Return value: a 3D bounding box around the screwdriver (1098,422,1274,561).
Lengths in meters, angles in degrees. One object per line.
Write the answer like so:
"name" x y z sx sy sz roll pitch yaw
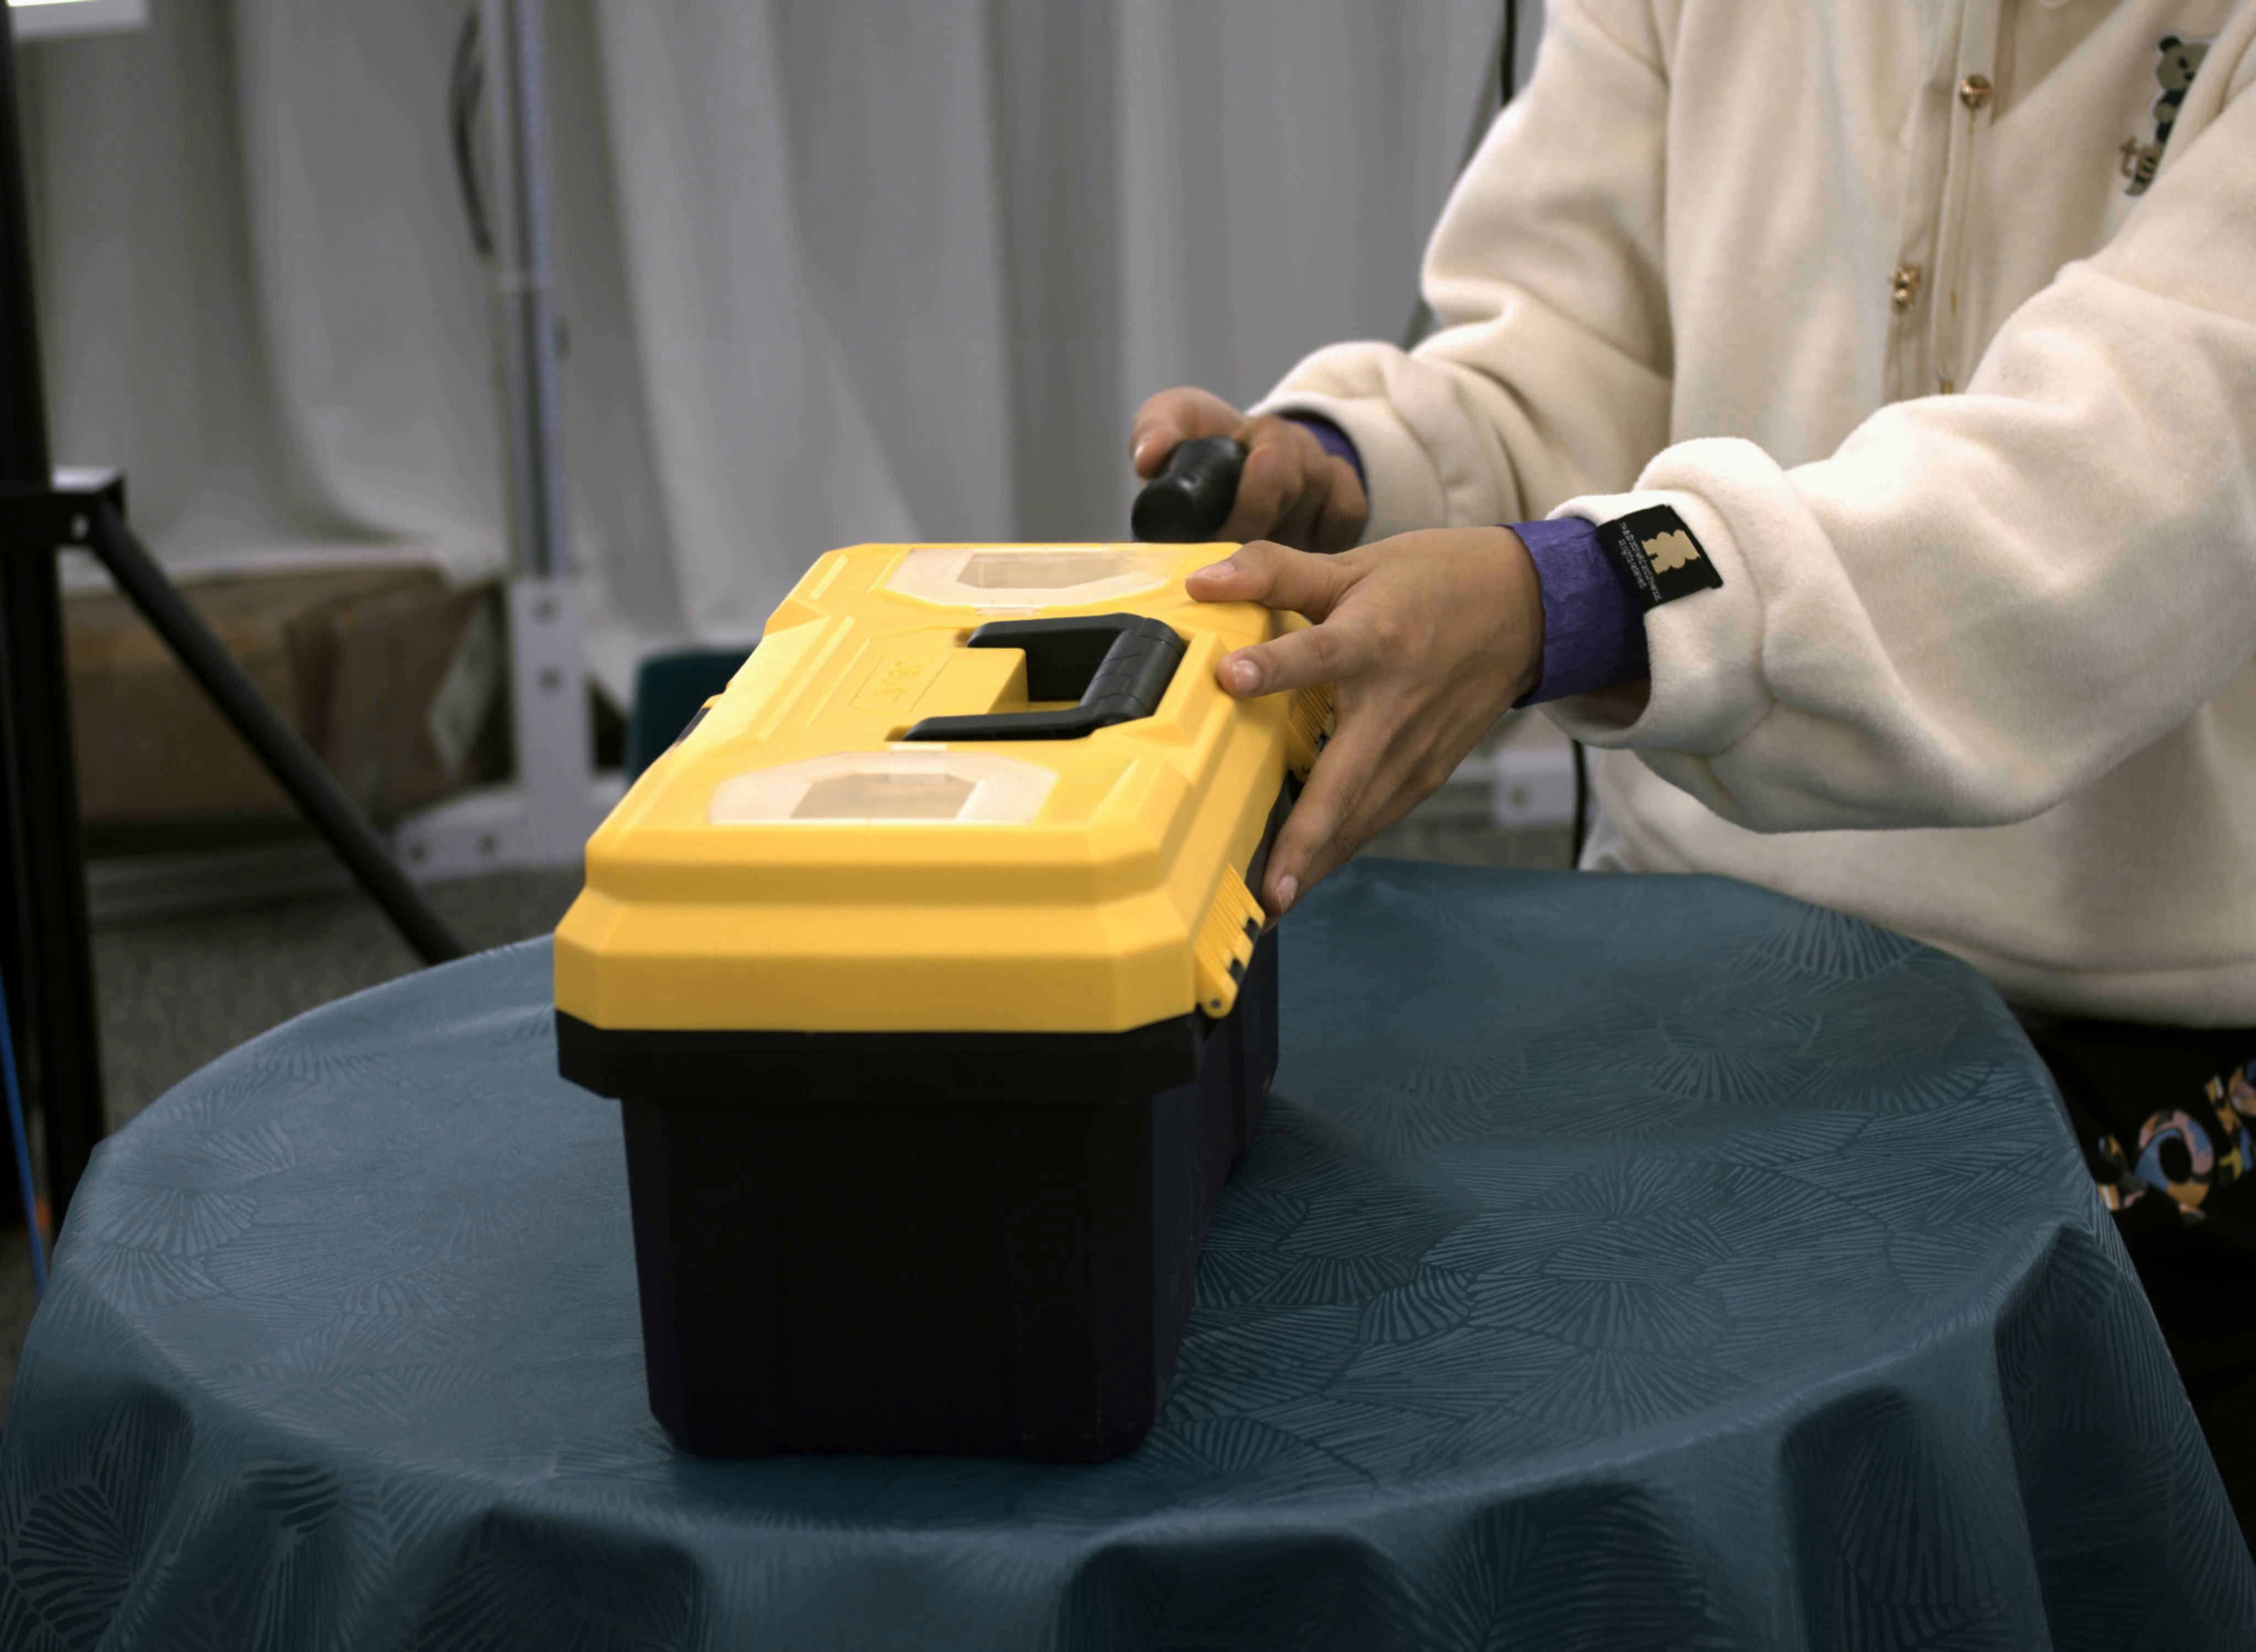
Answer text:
"screwdriver" 0.017 -0.105 1.718 0.031 0.031 0.196 2 12 13

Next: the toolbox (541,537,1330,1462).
"toolbox" -0.042 0.039 1.492 0.182 0.173 0.350 0 16 9
